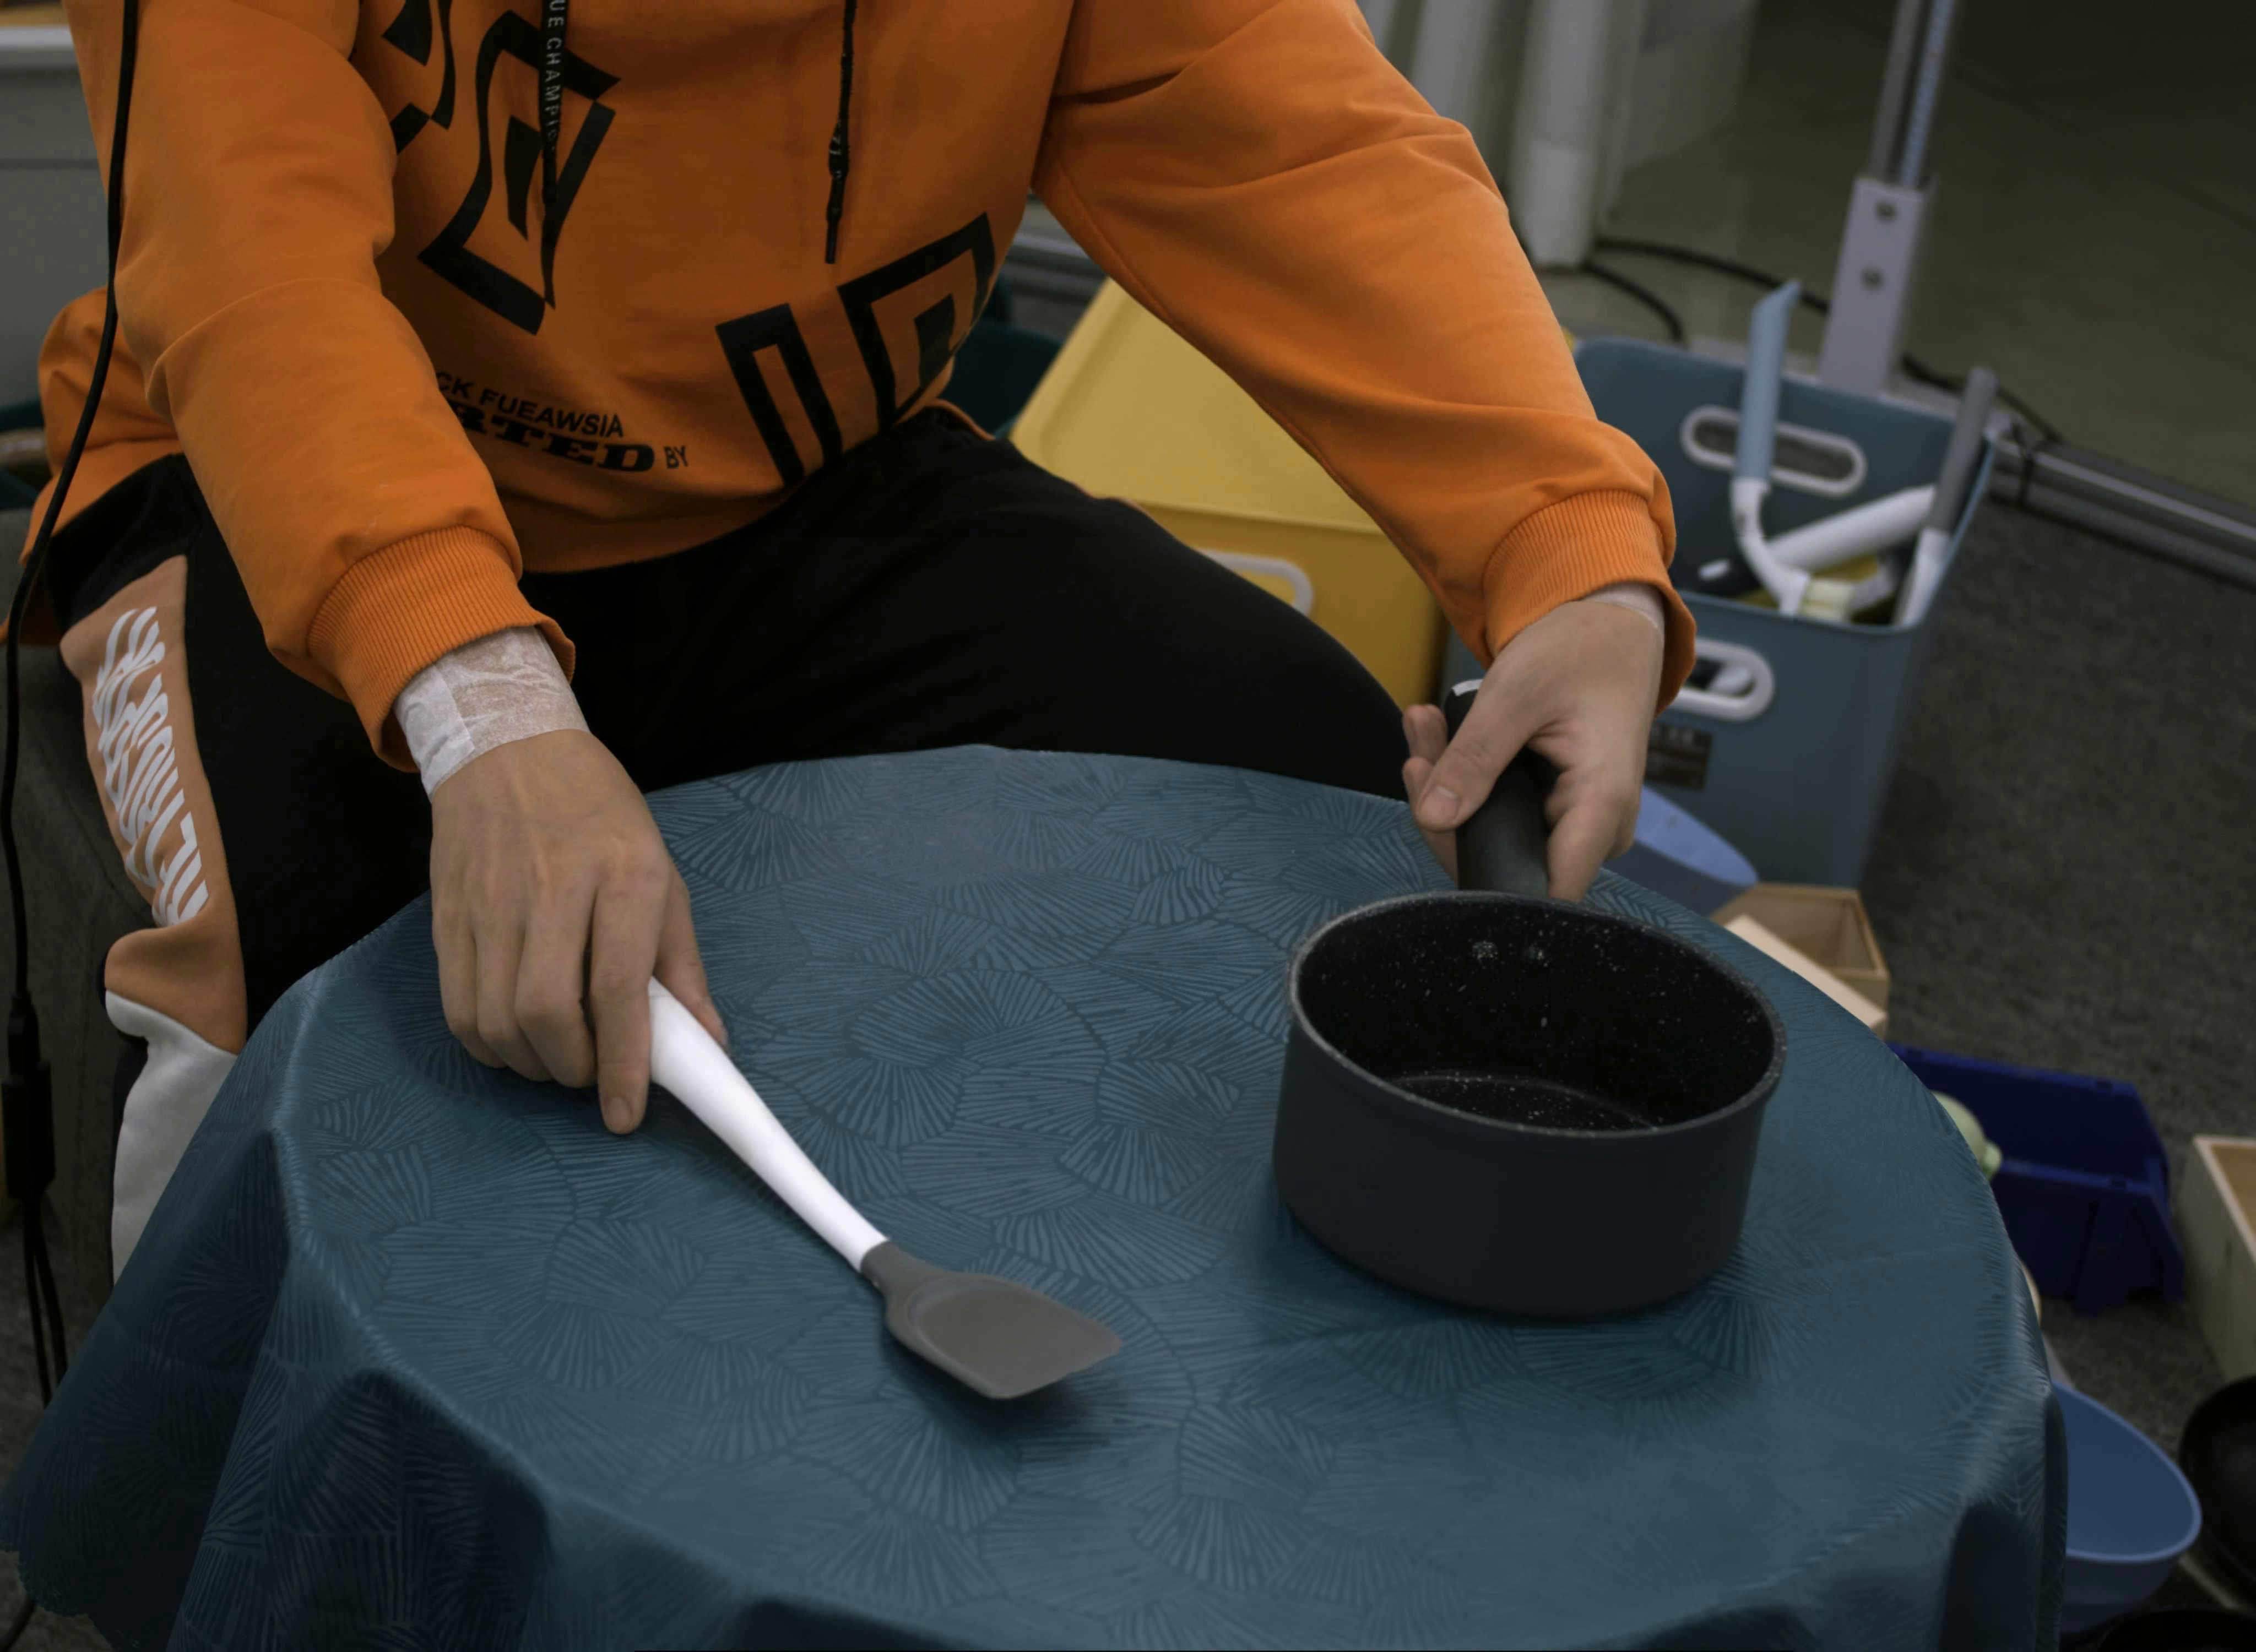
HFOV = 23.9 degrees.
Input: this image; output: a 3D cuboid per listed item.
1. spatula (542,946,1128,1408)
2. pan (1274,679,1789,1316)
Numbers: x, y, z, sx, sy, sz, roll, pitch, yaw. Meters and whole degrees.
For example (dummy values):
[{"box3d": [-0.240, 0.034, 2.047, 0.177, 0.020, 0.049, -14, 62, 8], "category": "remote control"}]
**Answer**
[{"box3d": [-0.104, 0.117, 1.755, 0.058, 0.032, 0.290, -17, 36, -33], "category": "spatula"}, {"box3d": [0.136, 0.056, 1.874, 0.171, 0.086, 0.330, 8, 27, 0], "category": "pan"}]
